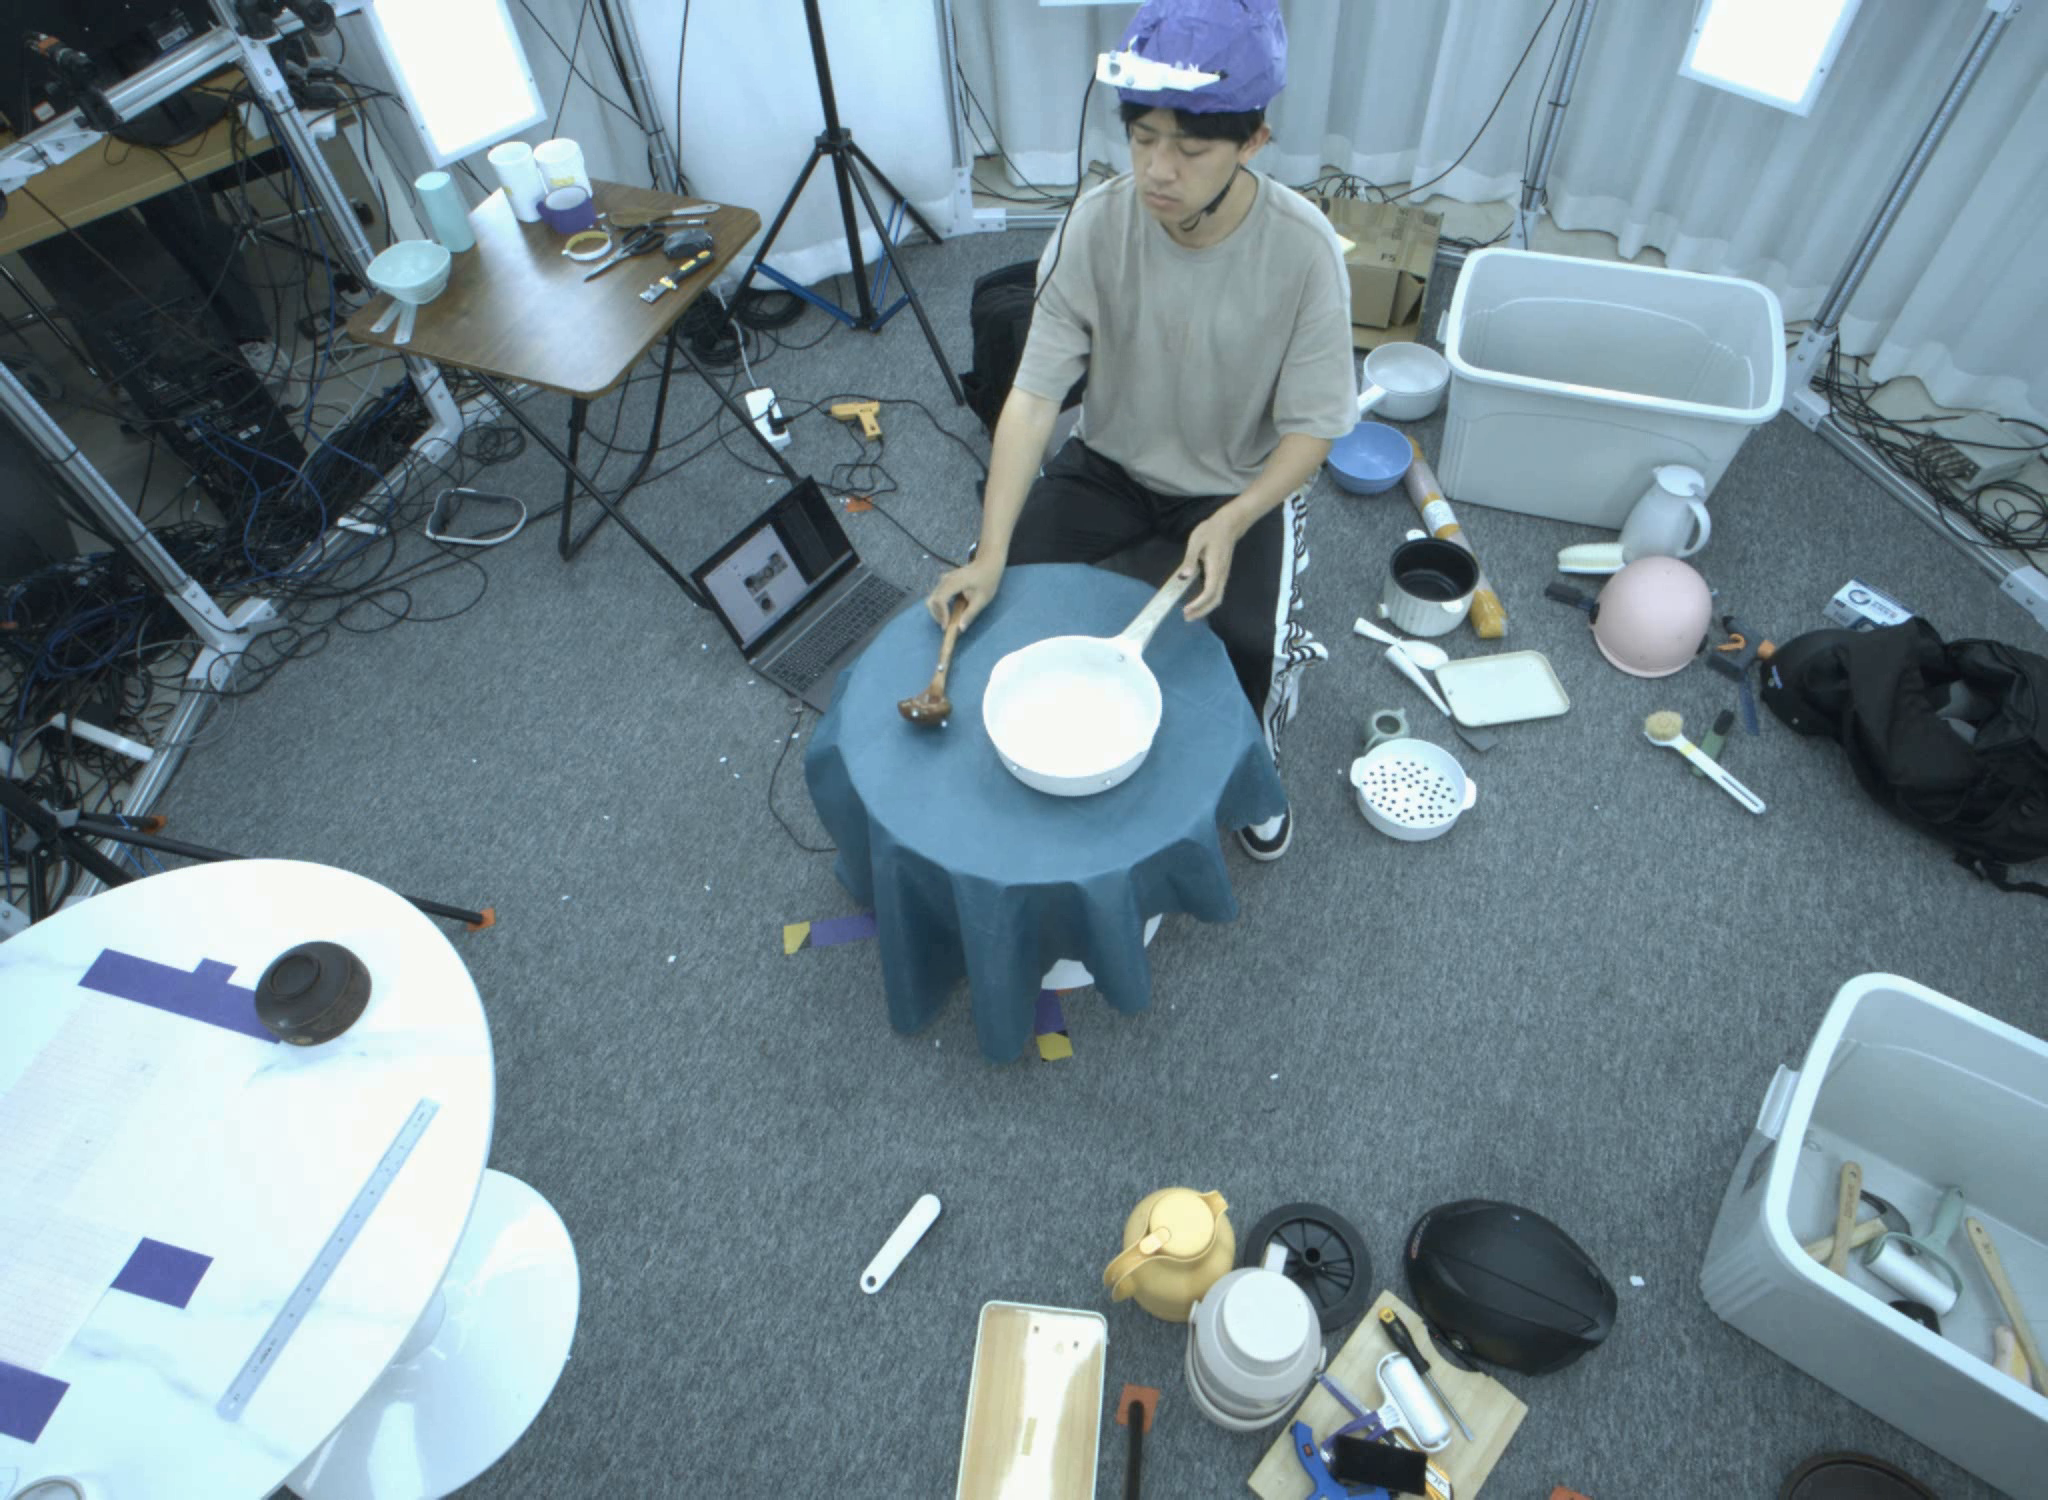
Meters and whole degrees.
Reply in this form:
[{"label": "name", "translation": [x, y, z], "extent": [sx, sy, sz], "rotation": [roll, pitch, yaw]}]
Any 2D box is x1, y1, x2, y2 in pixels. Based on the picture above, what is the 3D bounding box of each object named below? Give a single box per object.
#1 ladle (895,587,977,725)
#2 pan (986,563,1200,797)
[{"label": "ladle", "translation": [-0.123, -0.152, 1.839], "extent": [0.081, 0.077, 0.273], "rotation": [12, 64, 8]}, {"label": "pan", "translation": [0.130, -0.107, 1.794], "extent": [0.259, 0.103, 0.437], "rotation": [30, 61, 23]}]
